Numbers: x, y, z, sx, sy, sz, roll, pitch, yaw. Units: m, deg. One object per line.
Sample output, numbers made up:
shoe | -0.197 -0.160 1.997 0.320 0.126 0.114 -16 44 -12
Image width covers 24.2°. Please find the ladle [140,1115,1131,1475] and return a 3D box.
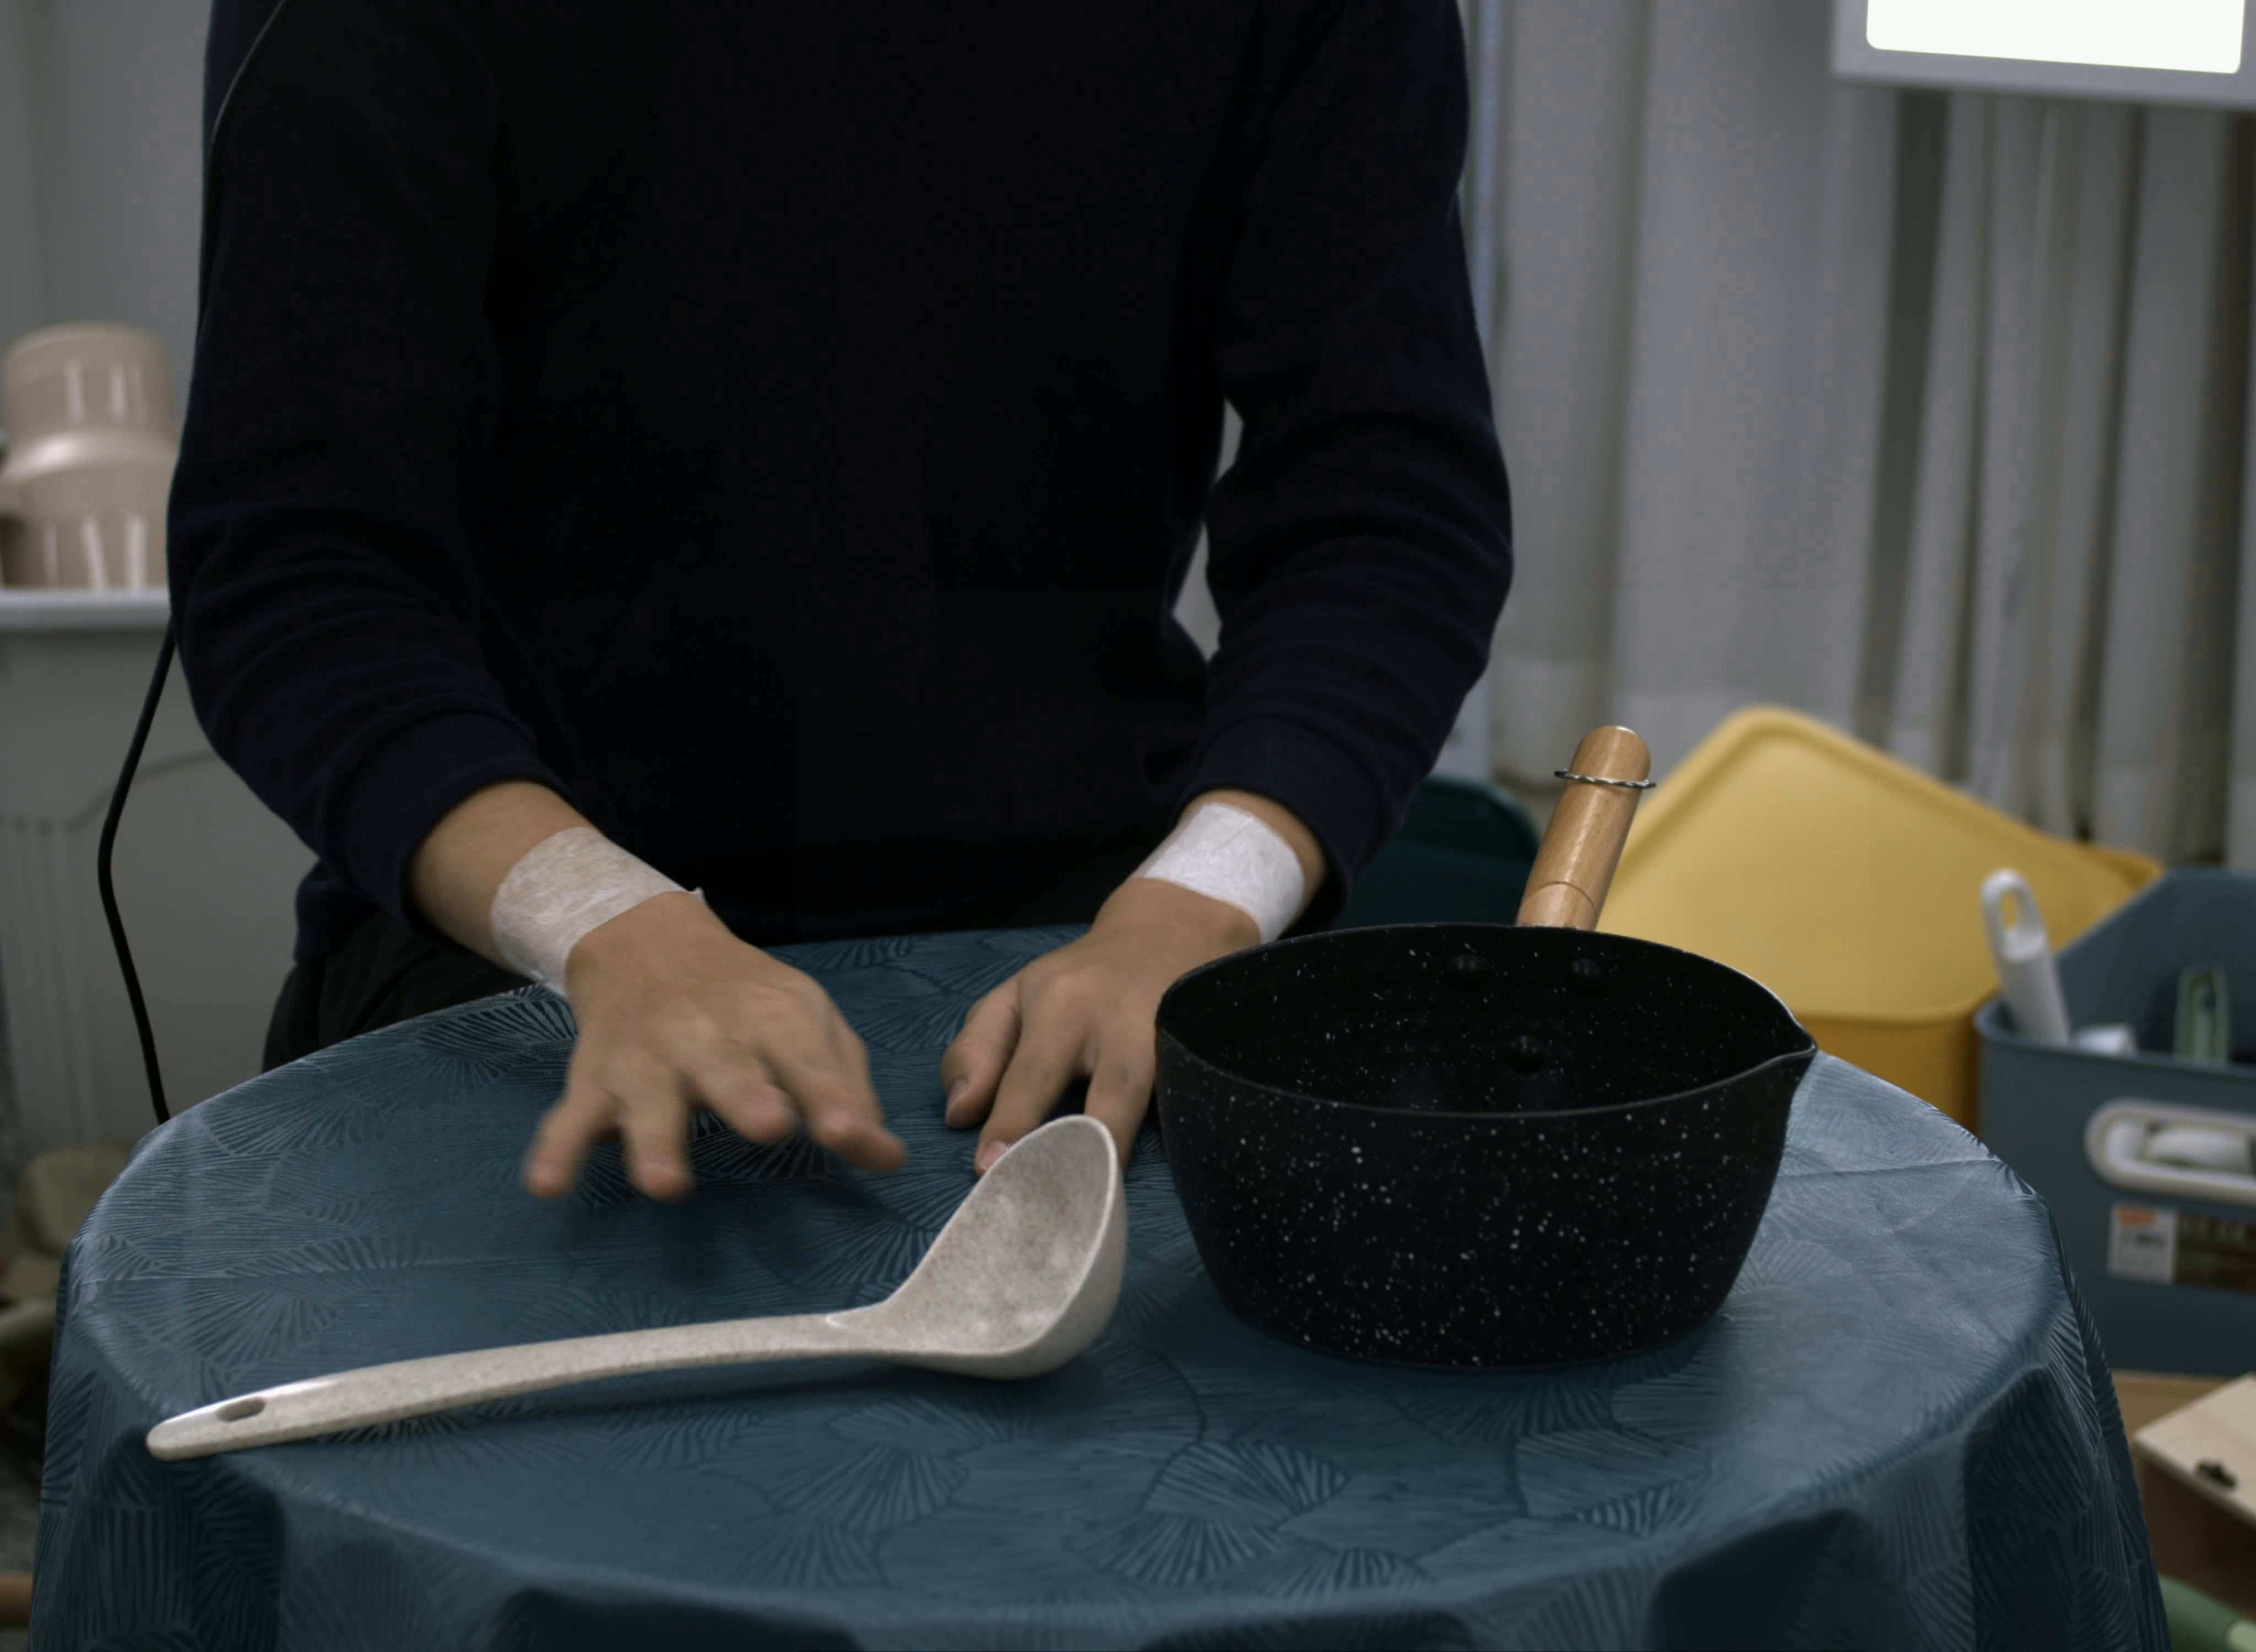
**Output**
ladle | -0.133 0.128 1.440 0.275 0.070 0.088 -5 29 -17

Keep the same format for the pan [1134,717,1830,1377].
pan | 0.118 0.062 1.605 0.206 0.109 0.342 3 17 13
